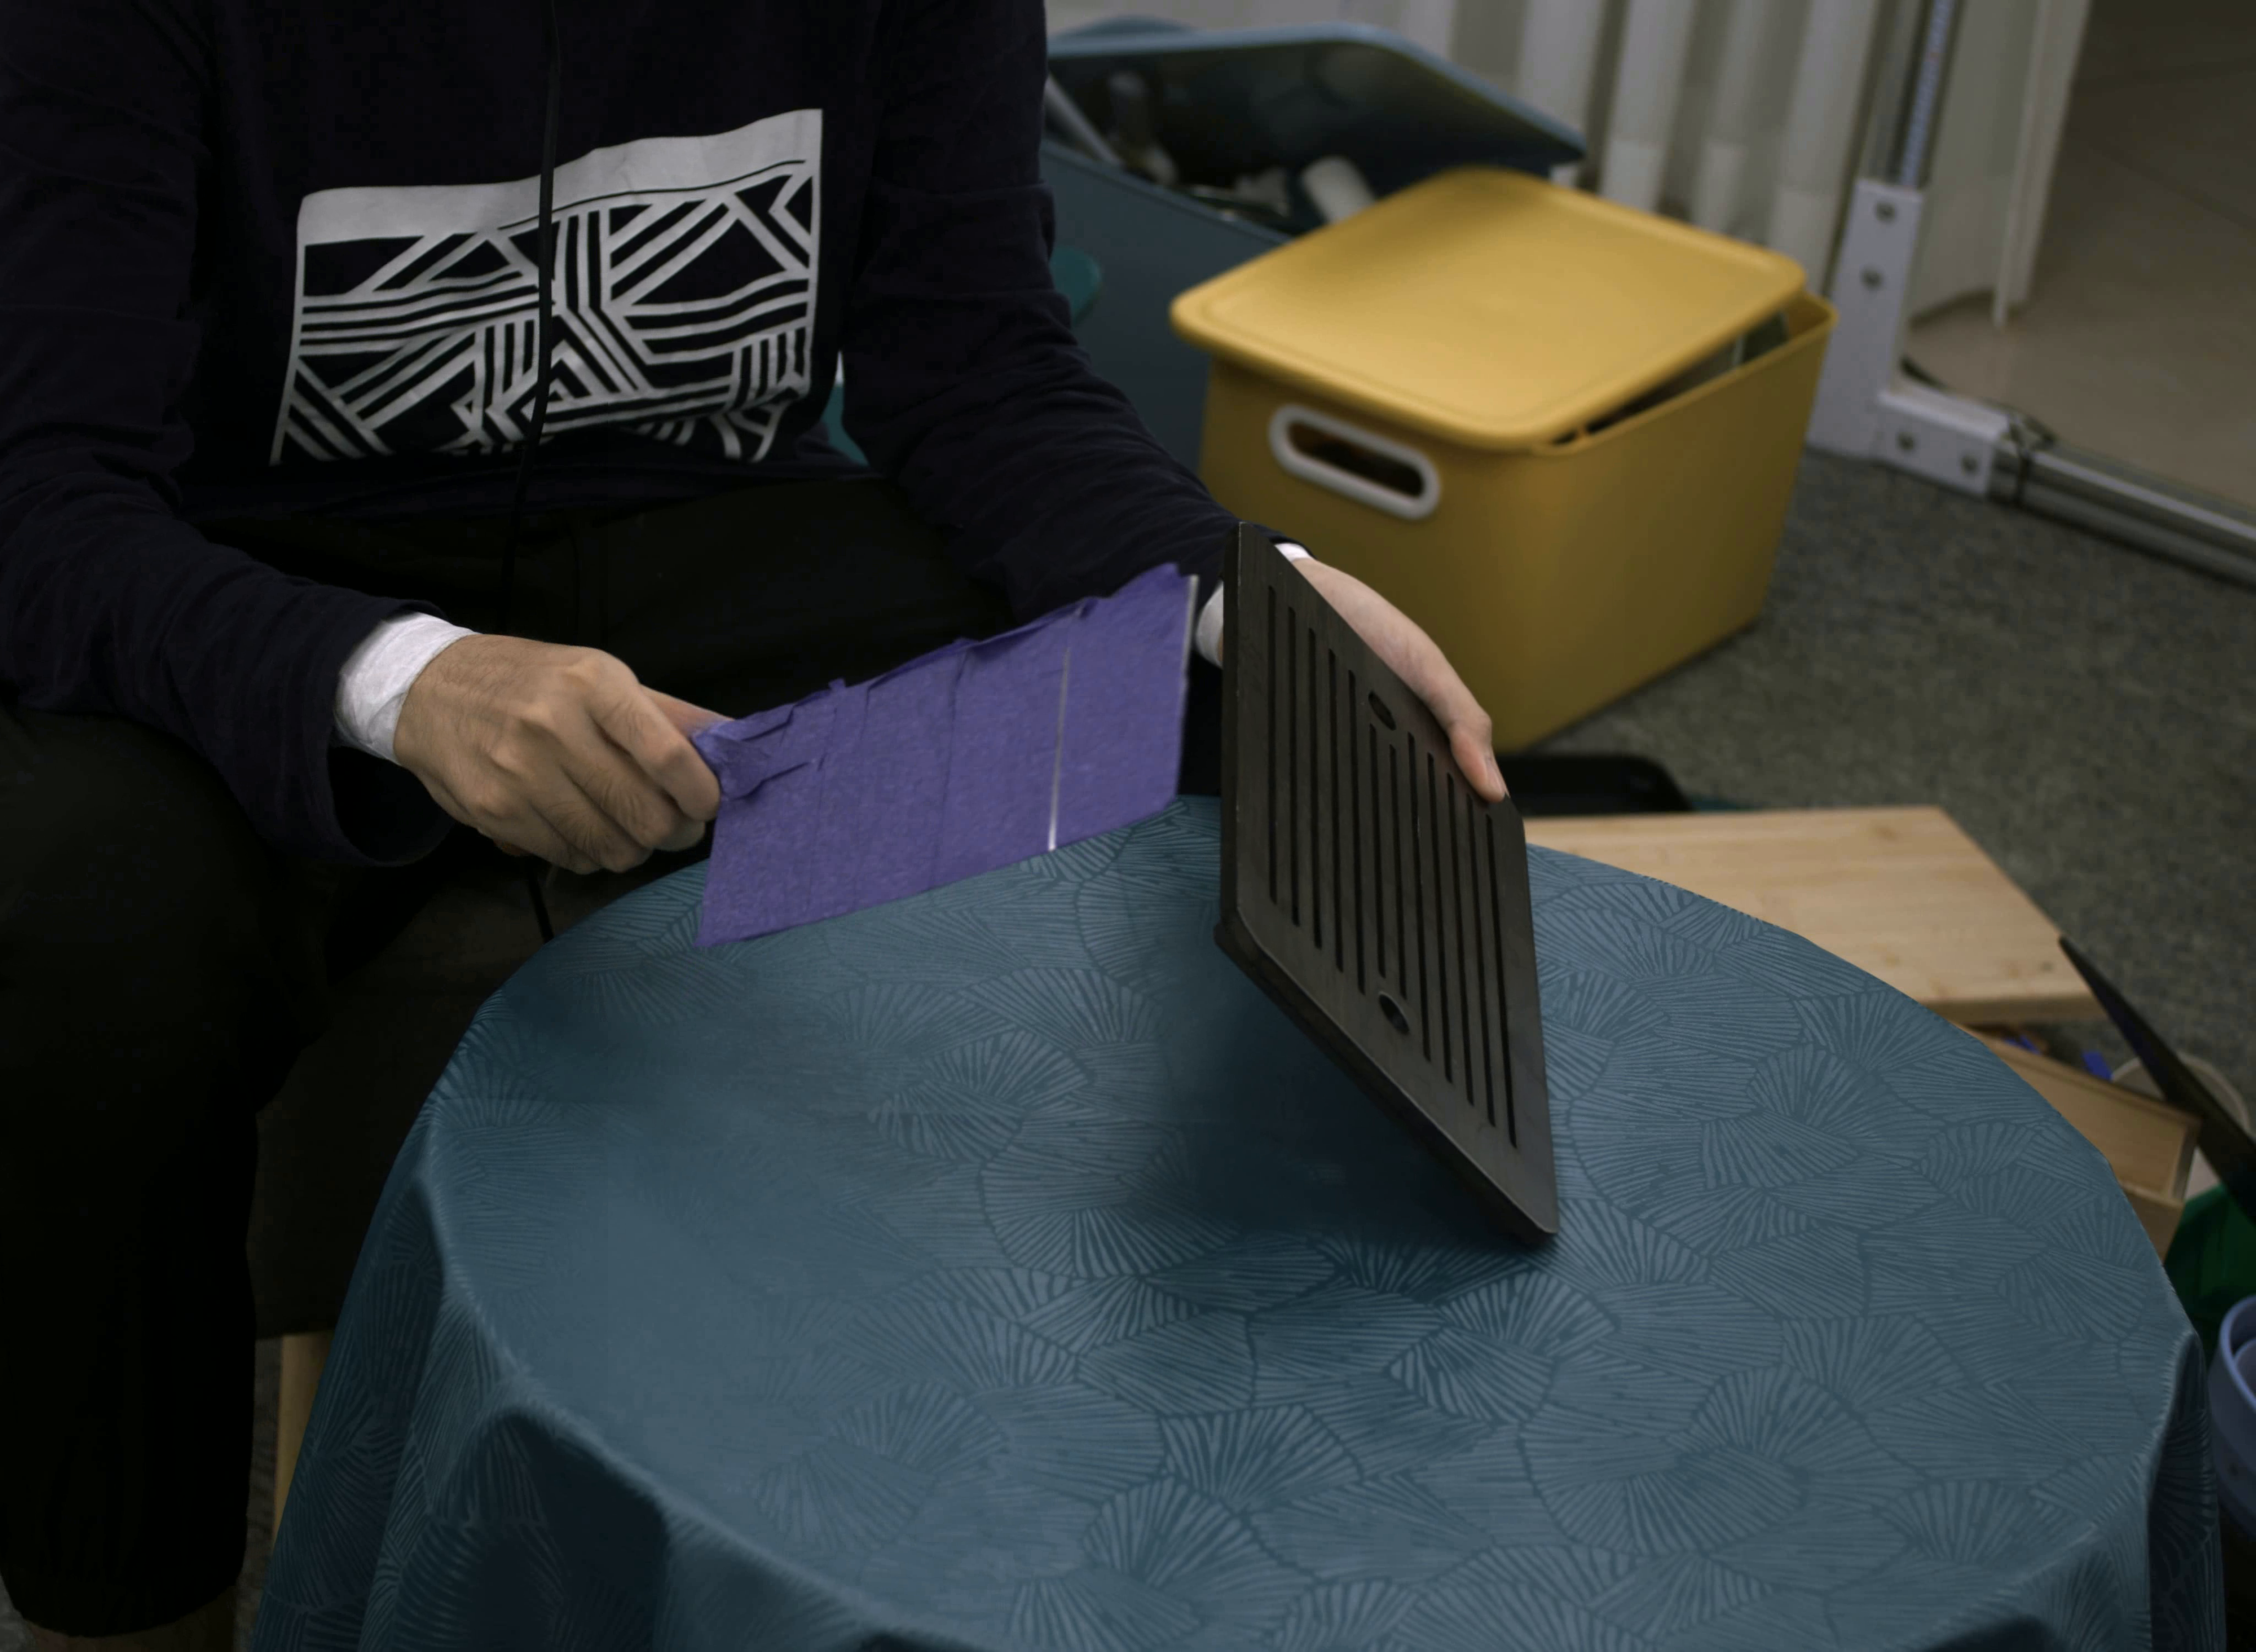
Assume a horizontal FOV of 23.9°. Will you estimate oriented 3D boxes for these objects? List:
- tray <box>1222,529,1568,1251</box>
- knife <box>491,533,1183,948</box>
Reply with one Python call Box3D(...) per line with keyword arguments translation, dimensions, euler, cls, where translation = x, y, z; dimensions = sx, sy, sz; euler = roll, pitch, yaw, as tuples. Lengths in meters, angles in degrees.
Box3D(translation=(0.091, 0.019, 1.898), dimensions=(0.169, 0.018, 0.308), euler=(45, 21, -20), cls="tray")
Box3D(translation=(-0.104, -0.011, 1.780), dimensions=(0.032, 0.316, 0.104), euler=(33, 52, -37), cls="knife")
